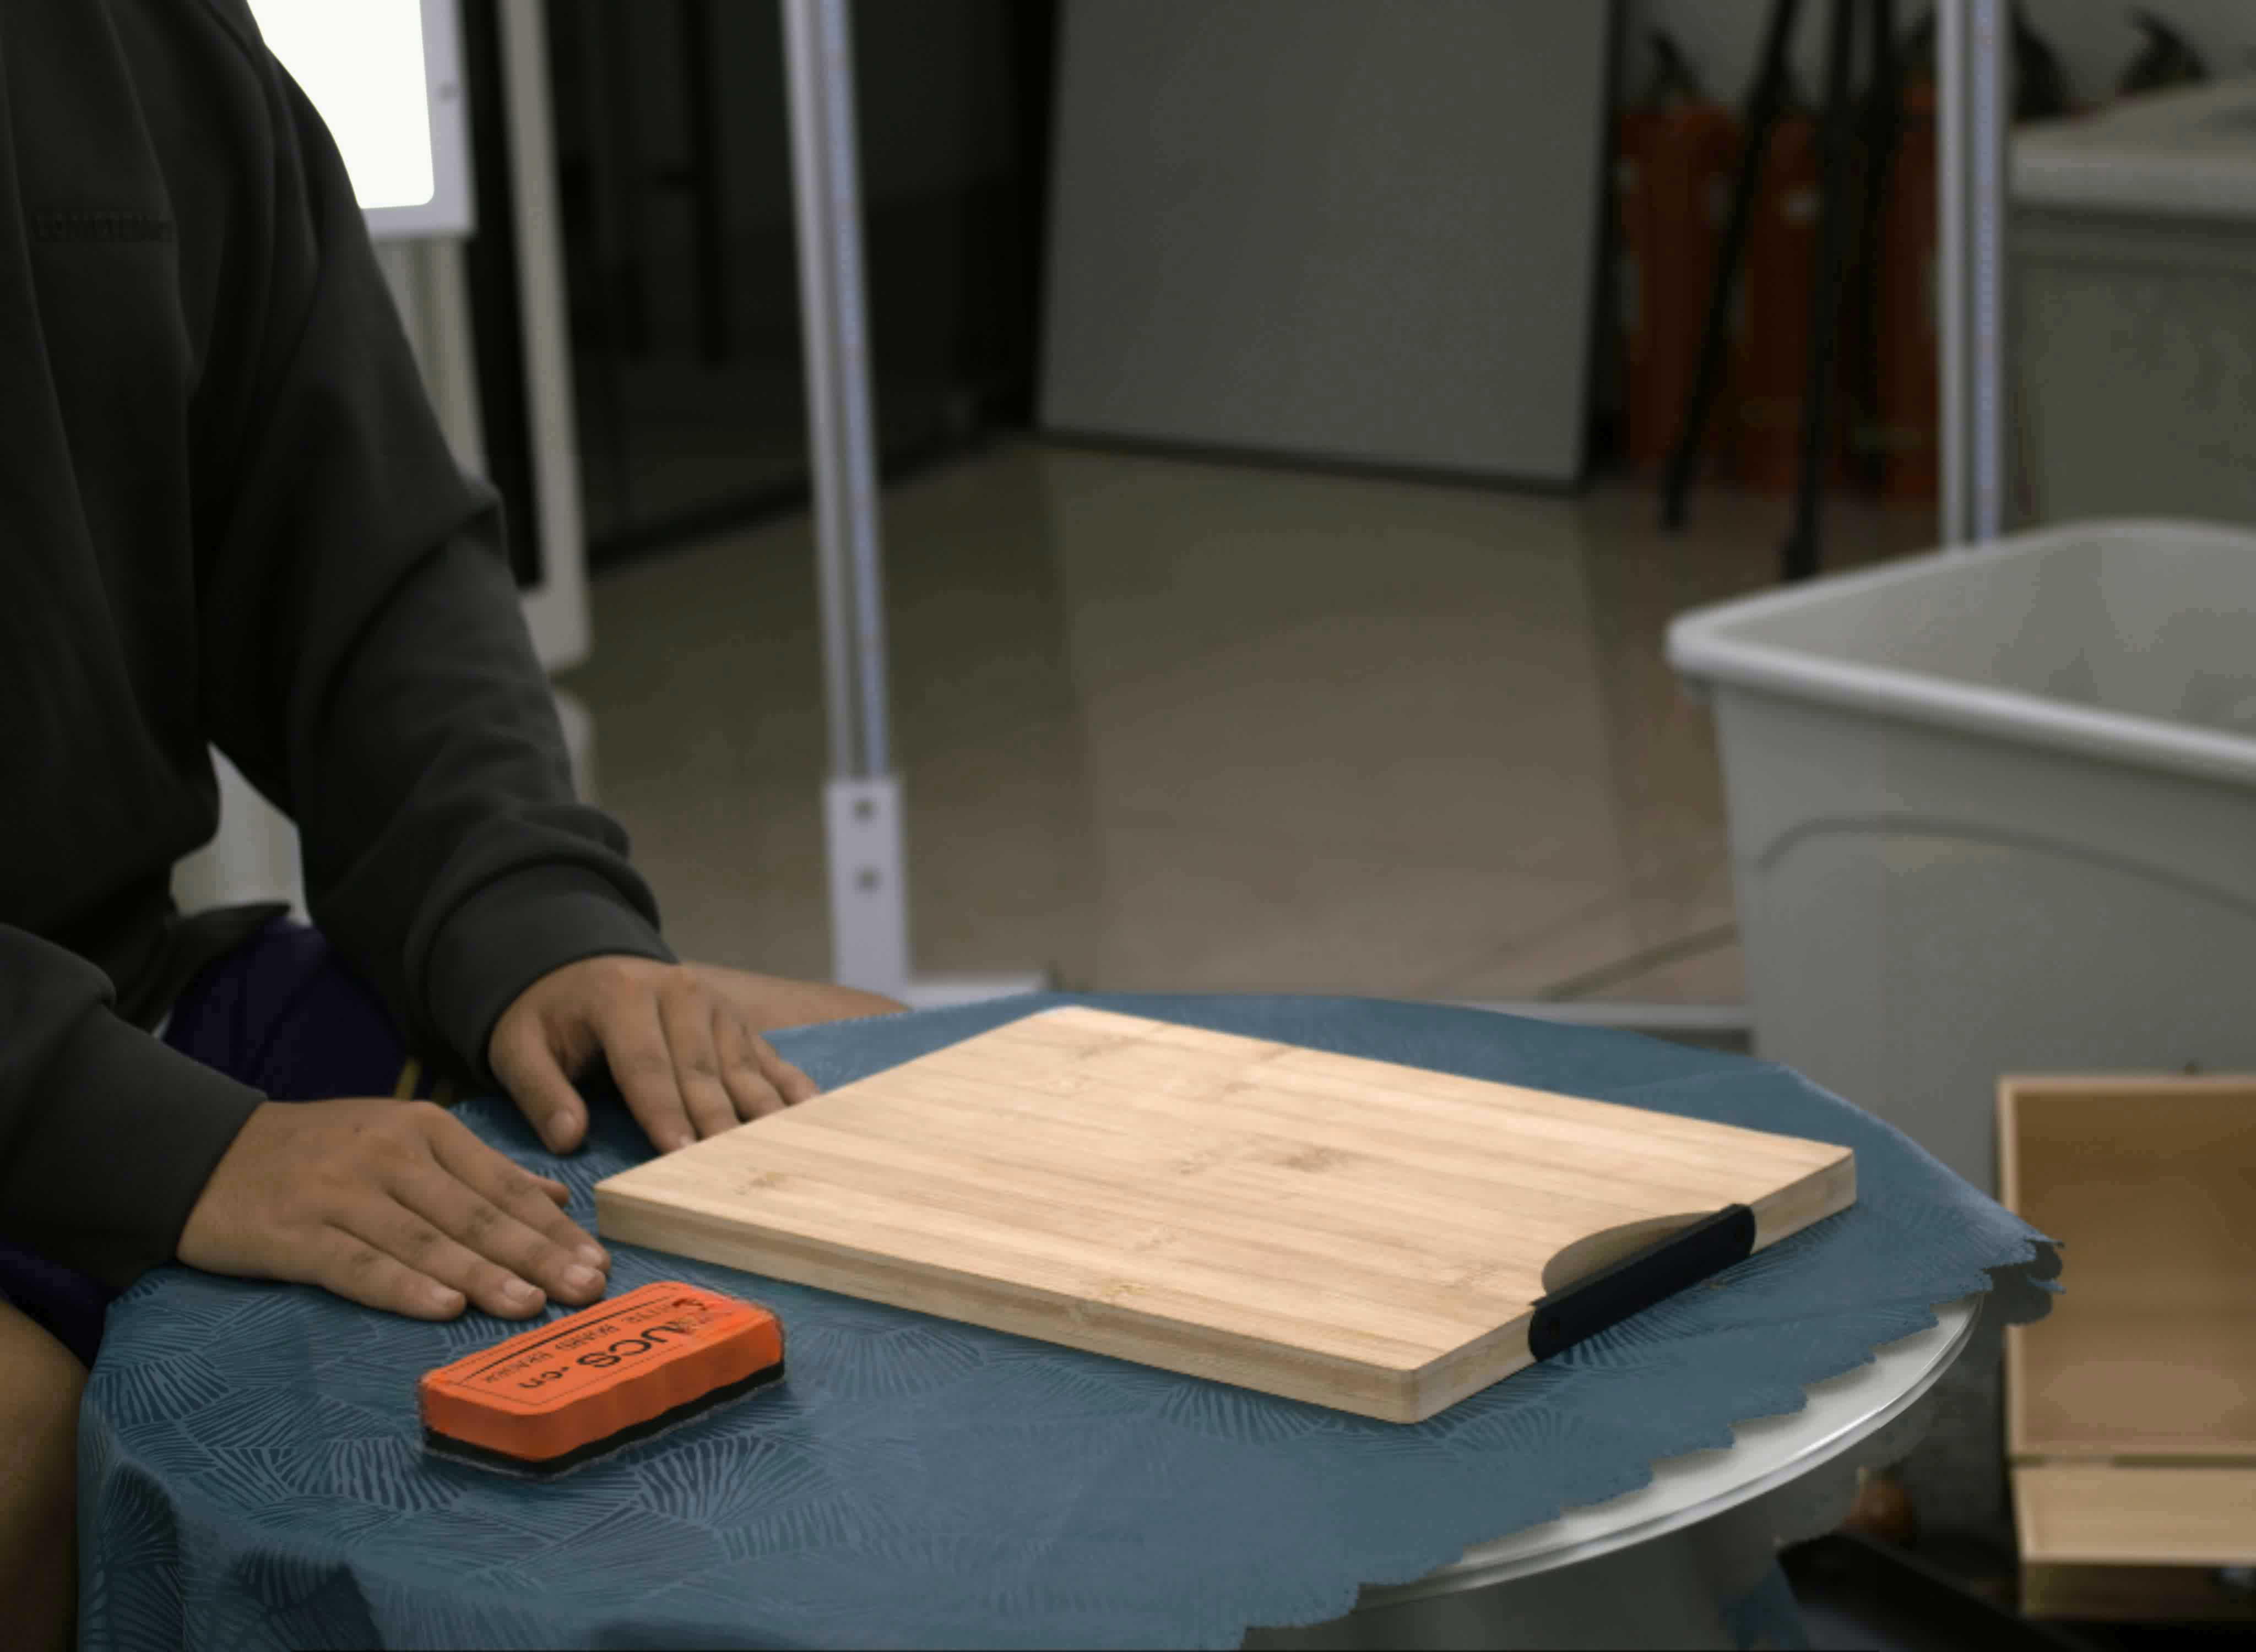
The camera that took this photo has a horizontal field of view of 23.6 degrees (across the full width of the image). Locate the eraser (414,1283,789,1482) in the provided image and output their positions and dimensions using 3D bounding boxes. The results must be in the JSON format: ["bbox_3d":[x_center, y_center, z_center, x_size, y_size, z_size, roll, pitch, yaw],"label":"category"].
[{"bbox_3d":[-0.154,0.163,1.590,0.059,0.023,0.106,9,18,42],"label":"eraser"}]

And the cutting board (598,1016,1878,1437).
[{"bbox_3d":[0.033,0.120,1.728,0.351,0.024,0.246,7,18,40],"label":"cutting board"}]
